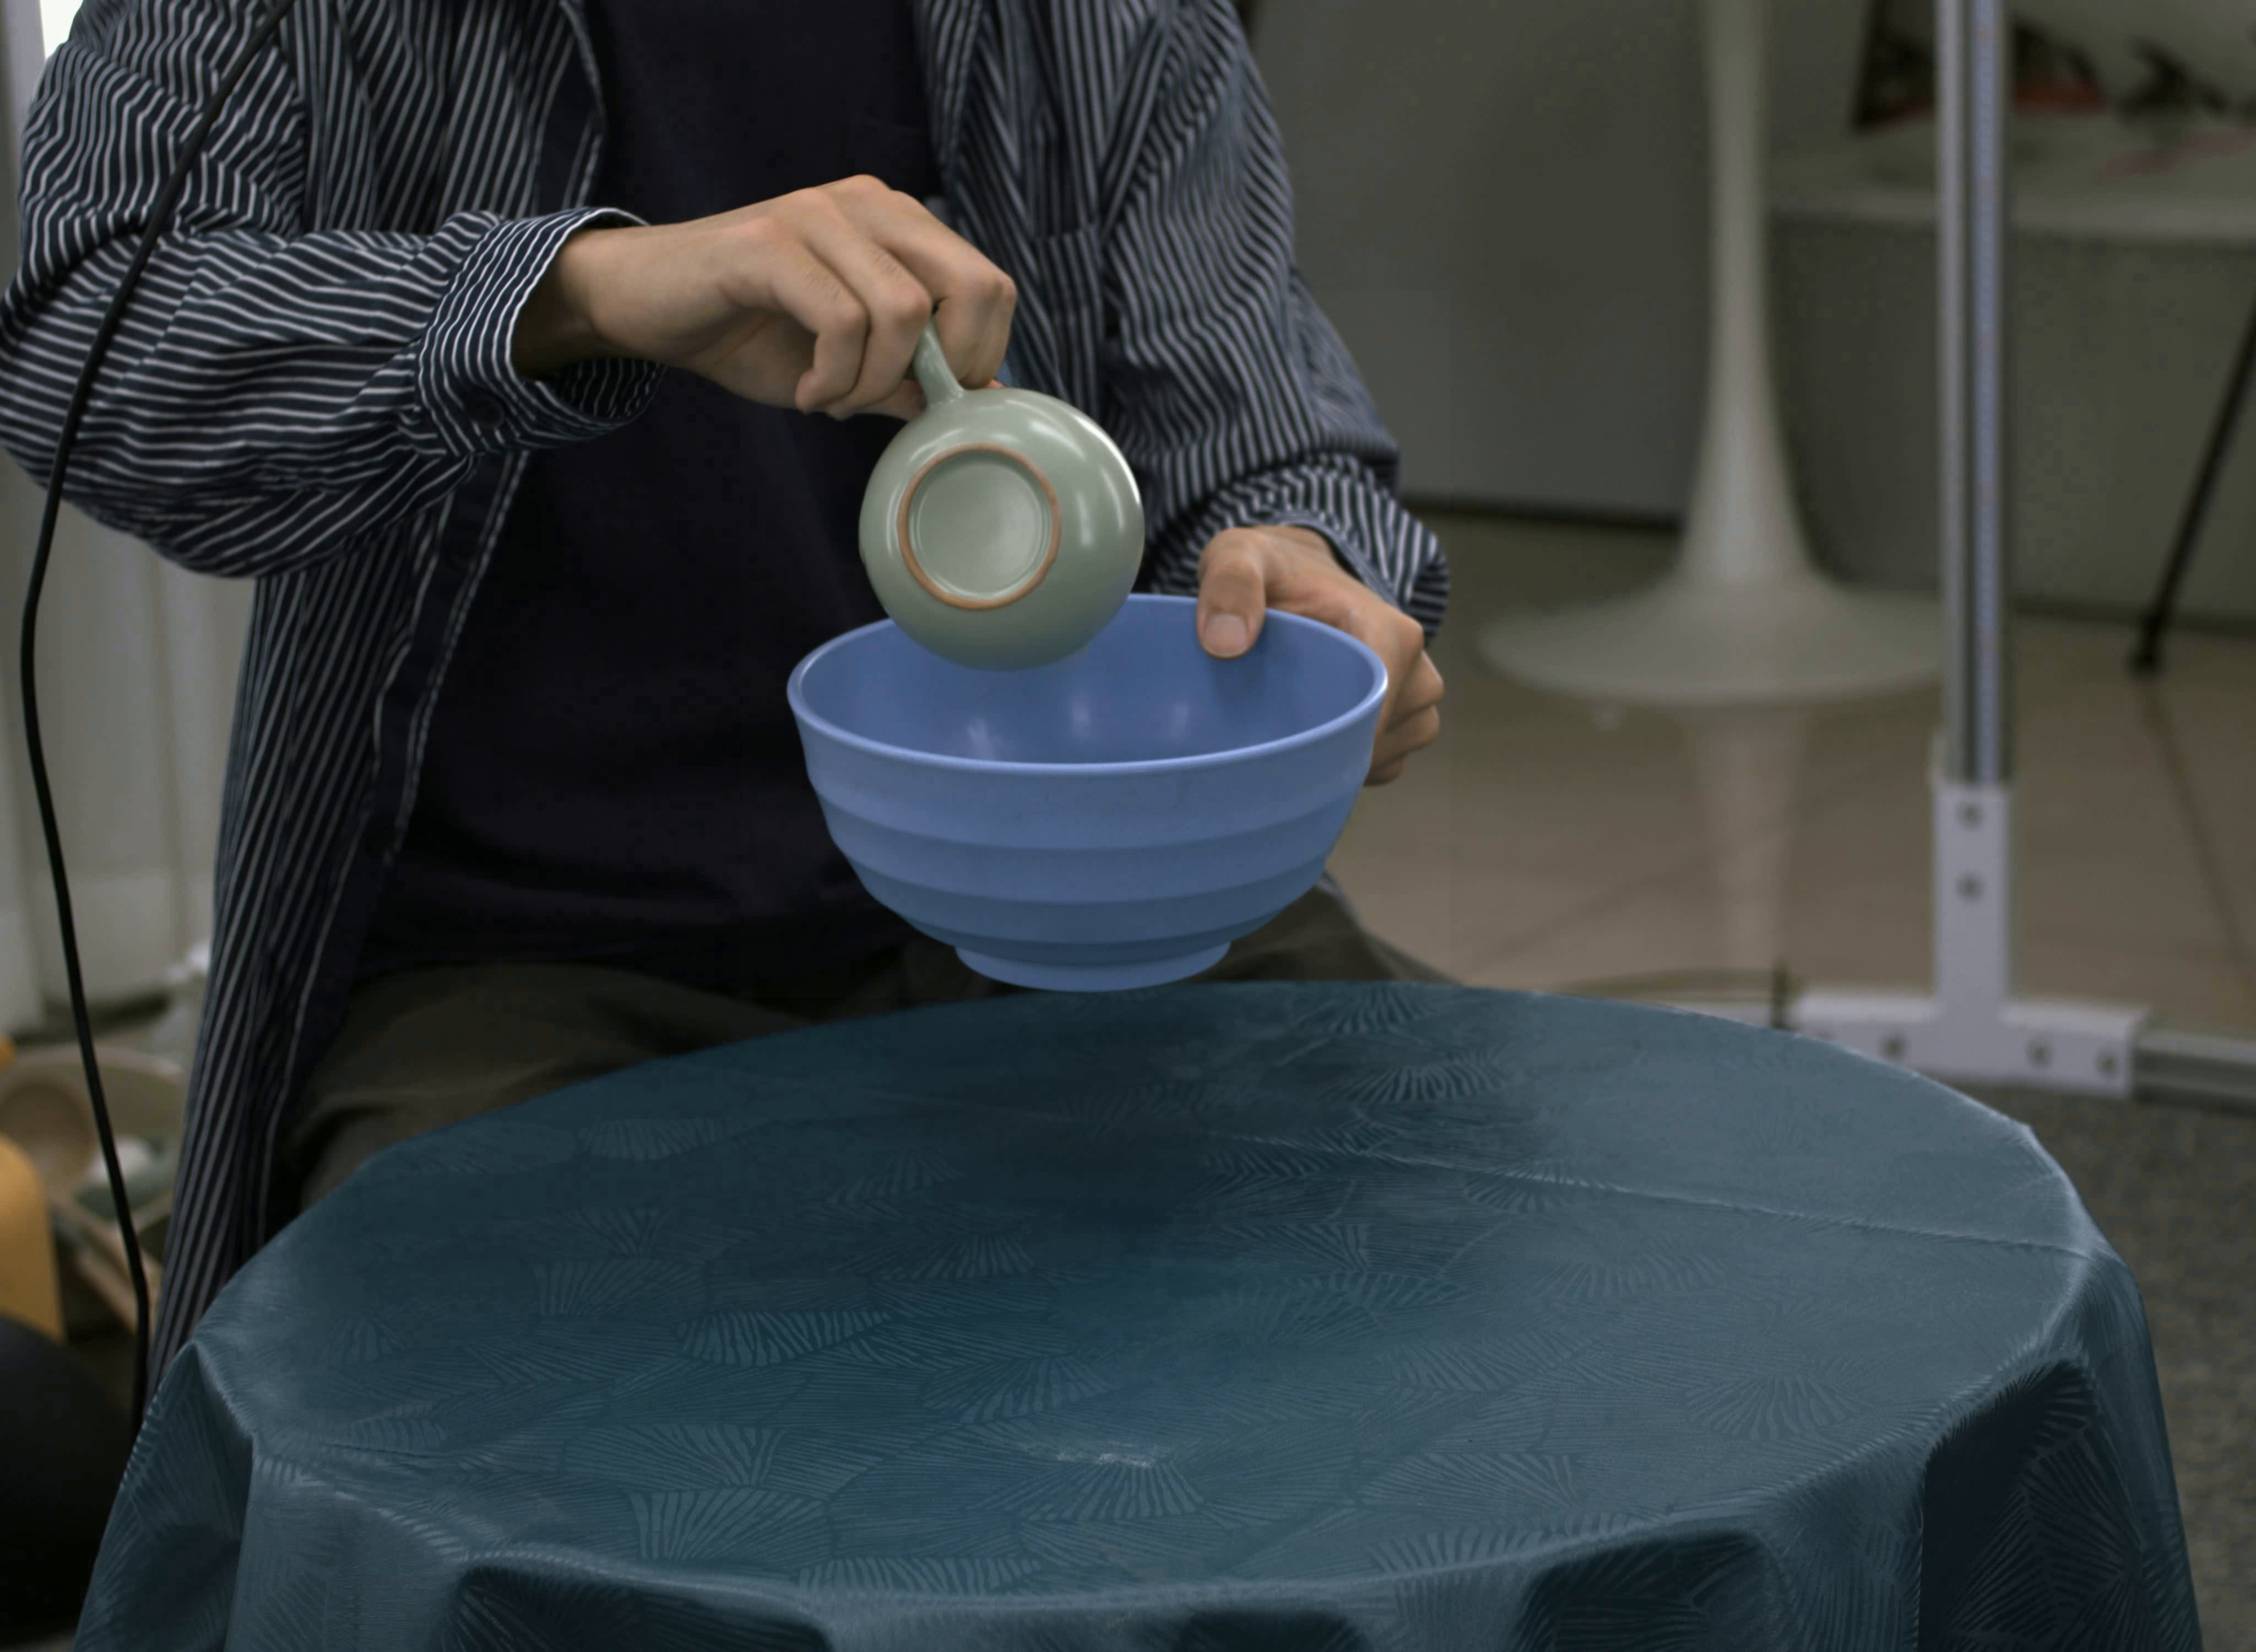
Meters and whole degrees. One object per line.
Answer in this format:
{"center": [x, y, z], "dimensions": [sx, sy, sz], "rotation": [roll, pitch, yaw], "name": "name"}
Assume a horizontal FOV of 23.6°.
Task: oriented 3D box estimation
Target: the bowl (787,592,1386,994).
{"center": [-0.013, -0.005, 1.759], "dimensions": [0.194, 0.096, 0.197], "rotation": [-2, 18, 0], "name": "bowl"}

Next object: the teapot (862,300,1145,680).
{"center": [-0.043, -0.107, 1.712], "dimensions": [0.091, 0.130, 0.060], "rotation": [-26, -6, 15], "name": "teapot"}
